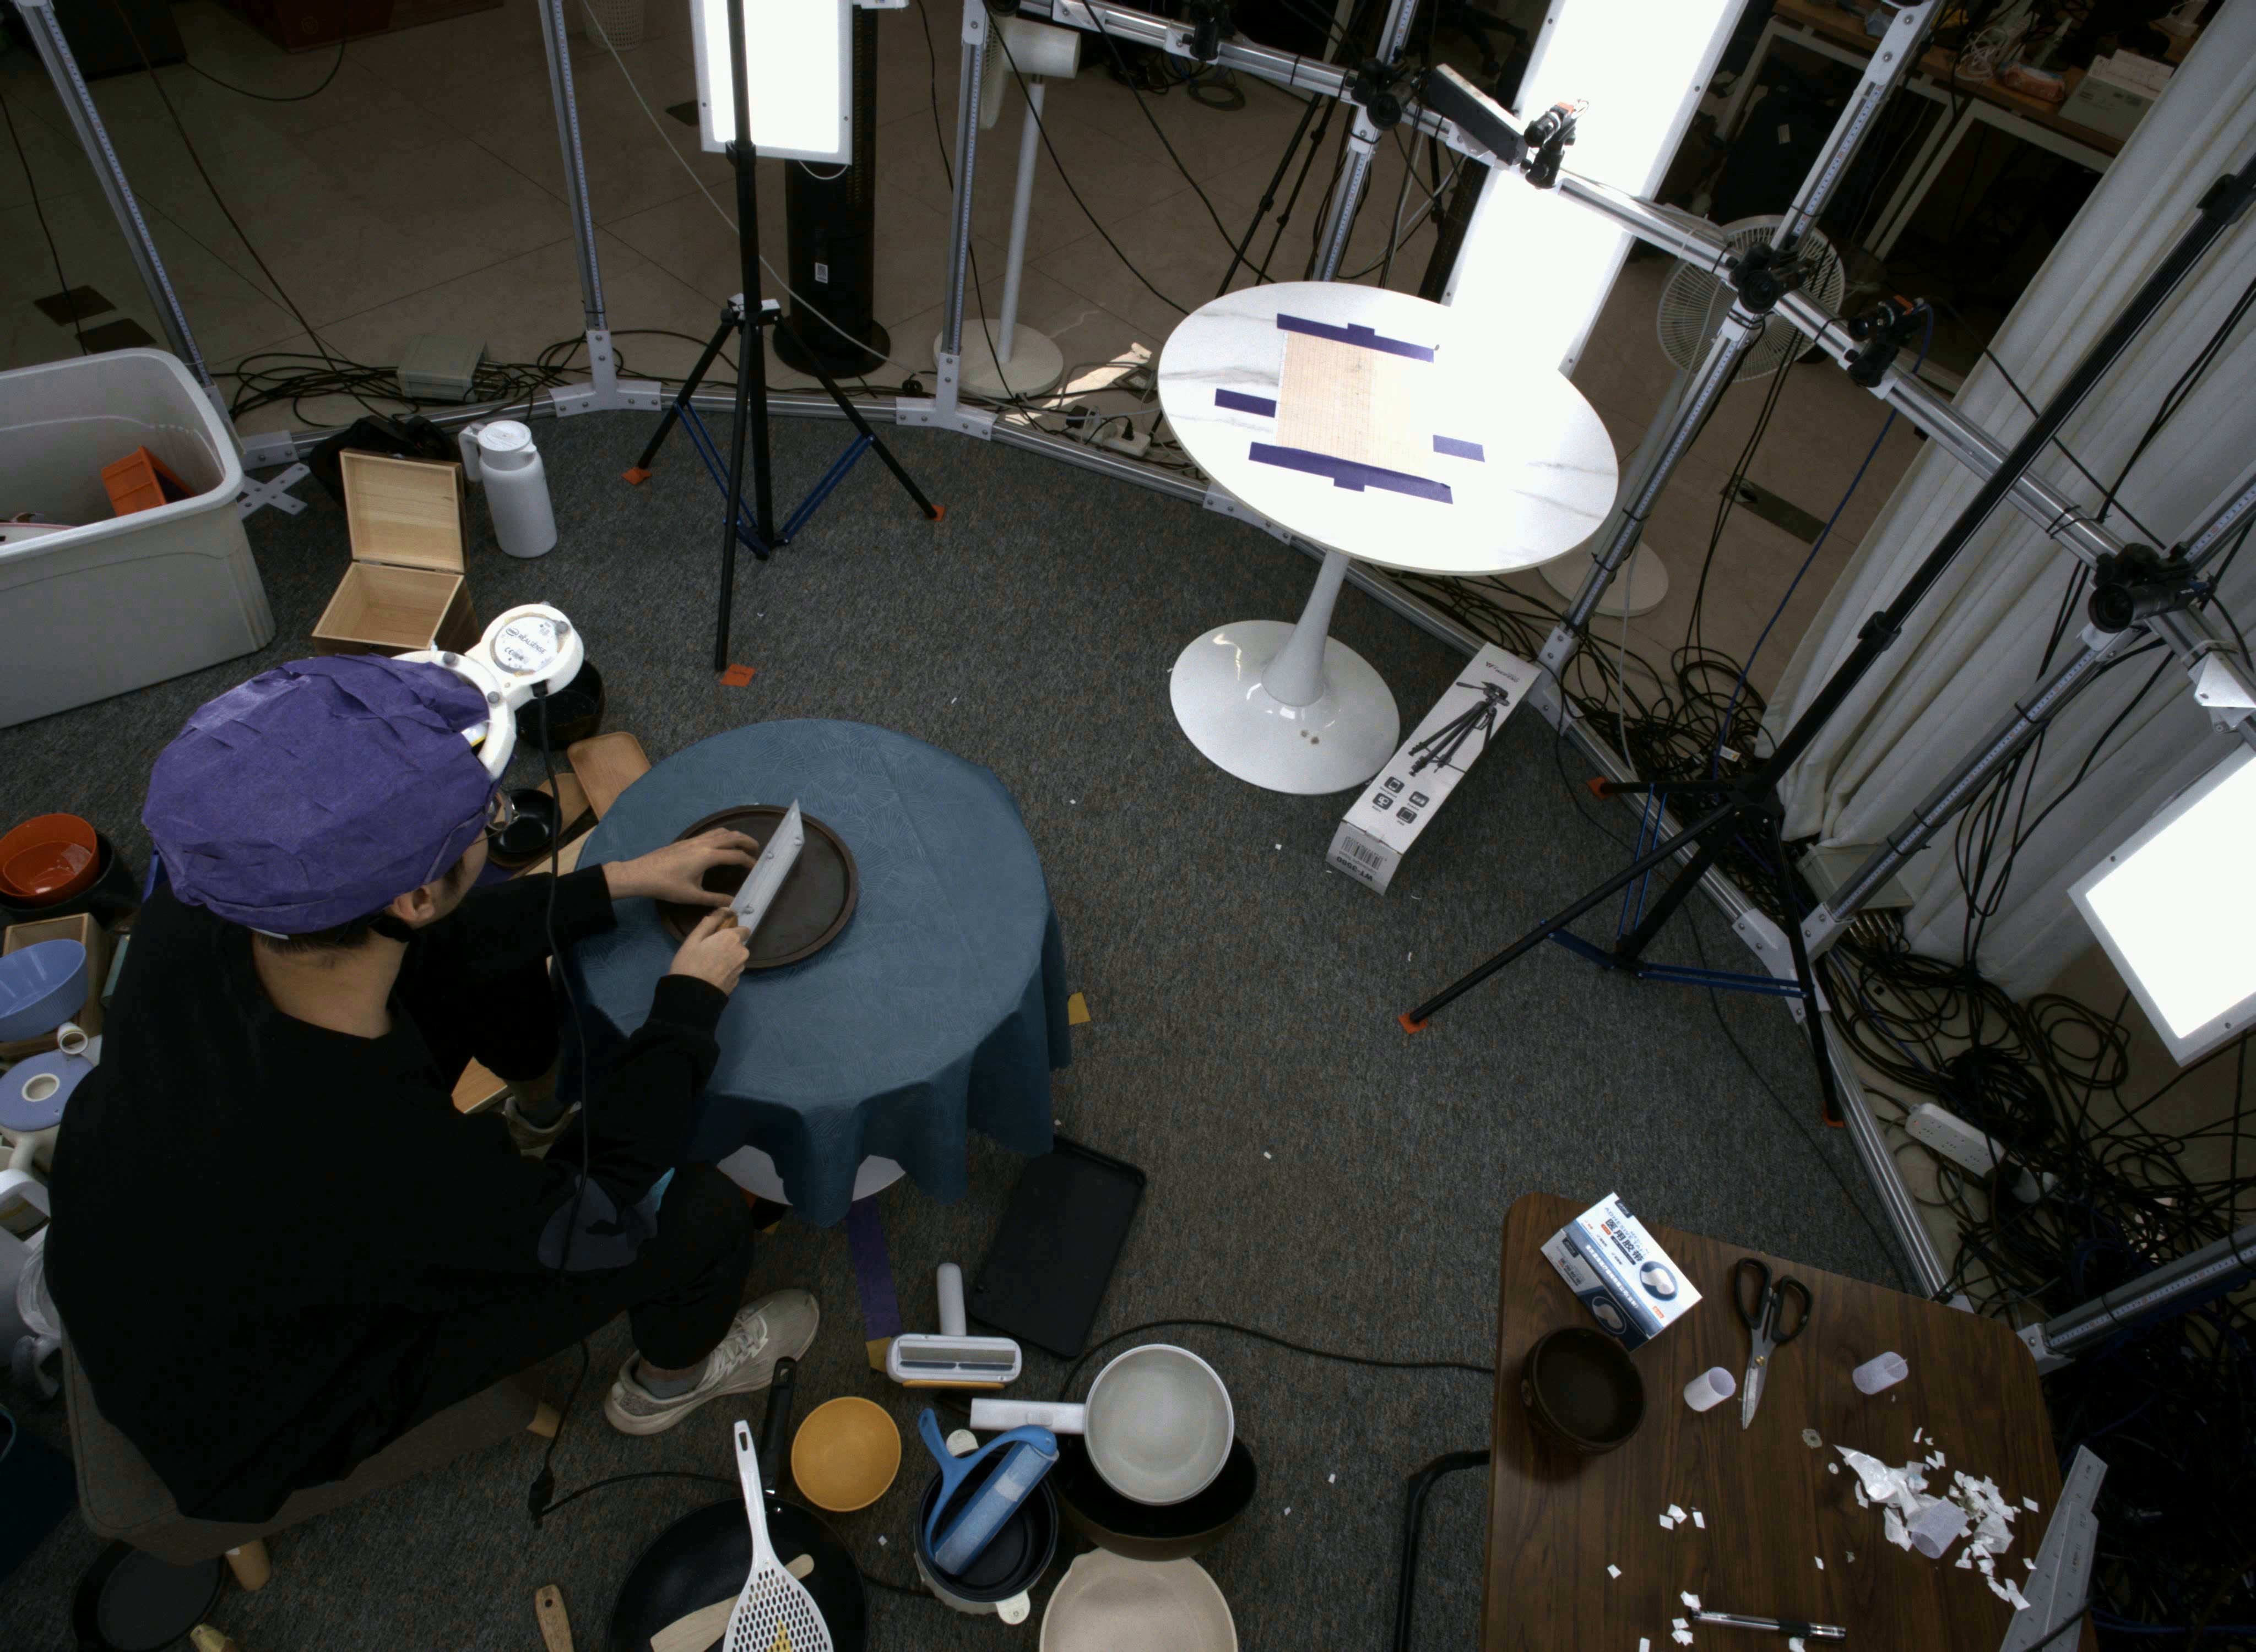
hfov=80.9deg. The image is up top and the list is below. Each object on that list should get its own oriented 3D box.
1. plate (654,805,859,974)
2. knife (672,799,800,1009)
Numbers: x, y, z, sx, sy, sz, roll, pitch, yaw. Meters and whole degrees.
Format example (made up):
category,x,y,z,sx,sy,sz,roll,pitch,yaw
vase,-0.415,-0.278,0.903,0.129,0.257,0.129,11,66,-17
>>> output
category,x,y,z,sx,sy,sz,roll,pitch,yaw
plate,-0.467,0.076,1.629,0.255,0.029,0.250,10,52,-10
knife,-0.458,0.100,1.541,0.020,0.095,0.302,15,50,7
